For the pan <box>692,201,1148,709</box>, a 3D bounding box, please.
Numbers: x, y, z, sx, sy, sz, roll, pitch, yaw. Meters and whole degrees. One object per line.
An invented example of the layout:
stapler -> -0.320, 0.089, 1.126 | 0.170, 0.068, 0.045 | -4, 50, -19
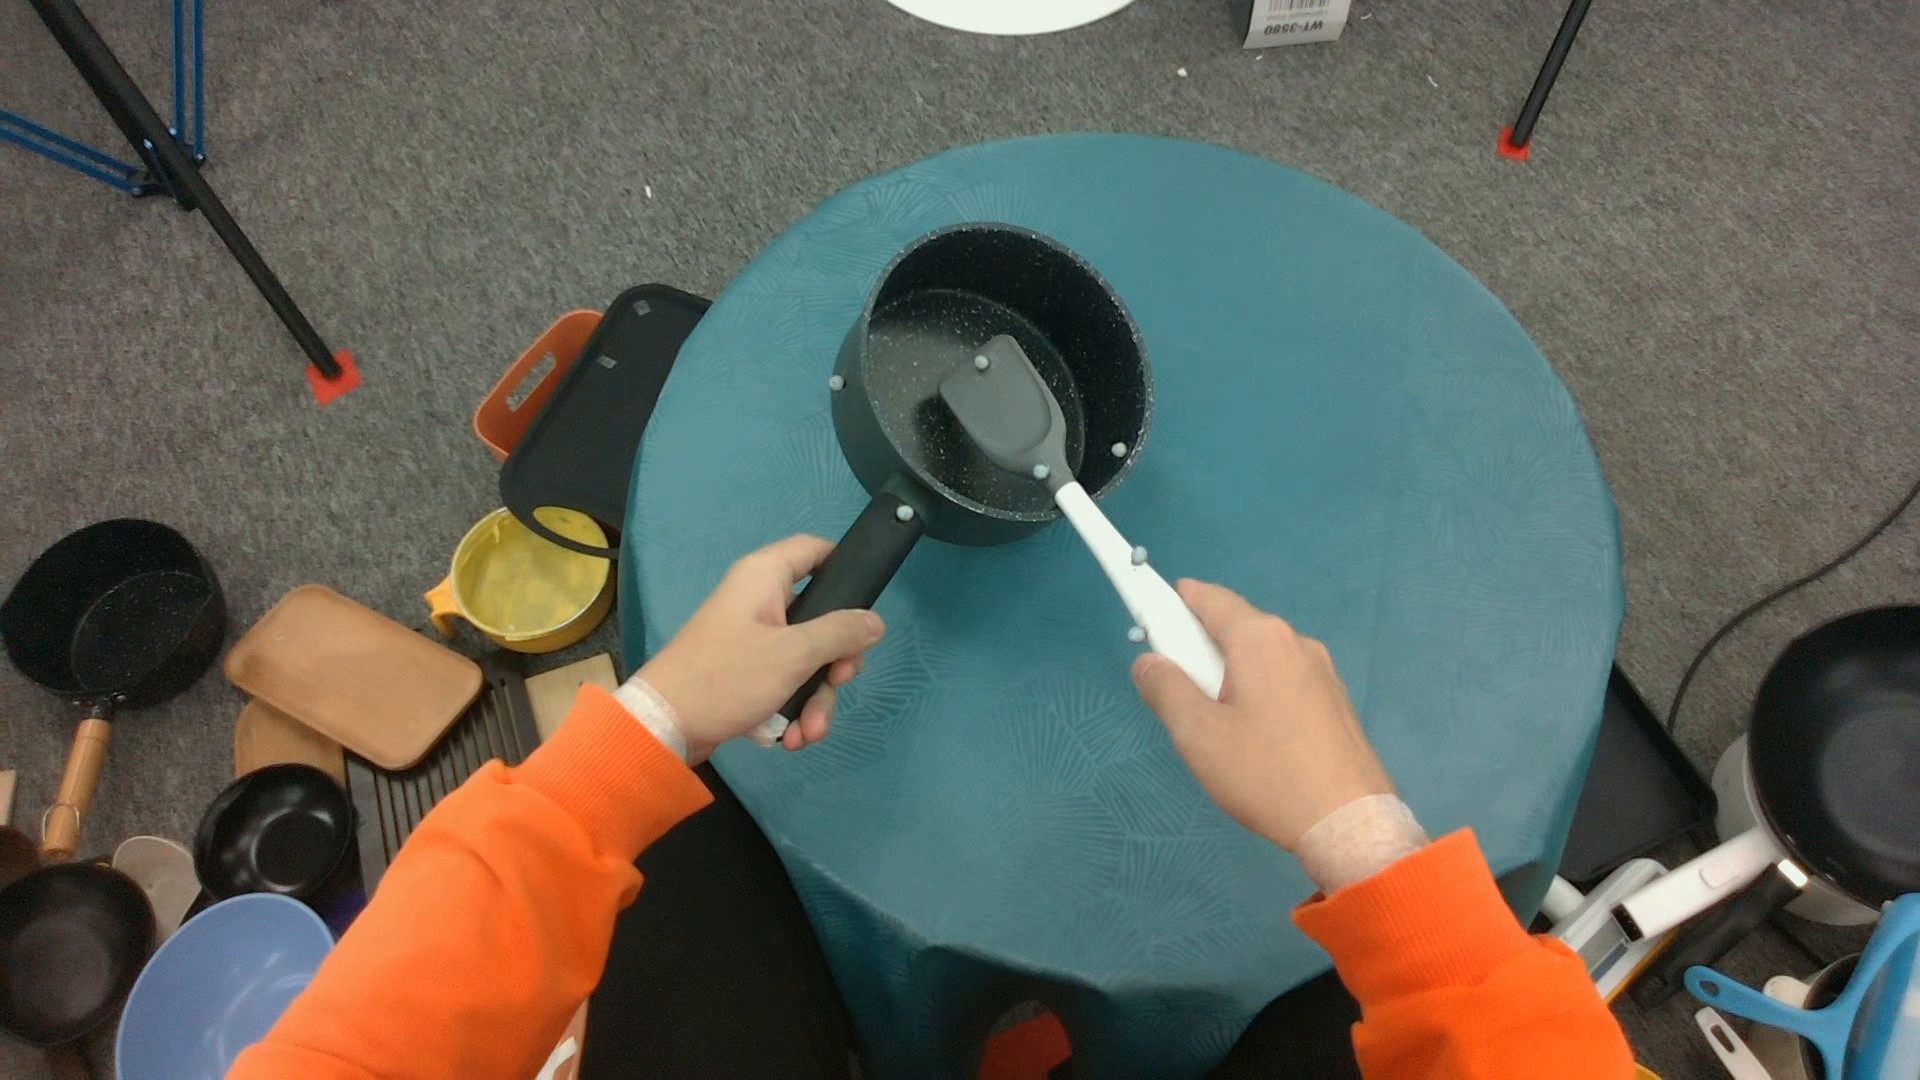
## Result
pan -> -0.031, -0.037, 0.726 | 0.172, 0.086, 0.330 | 41, 62, -6

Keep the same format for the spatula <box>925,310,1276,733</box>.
spatula -> 0.064, -0.019, 0.692 | 0.058, 0.032, 0.288 | -36, 51, 3
